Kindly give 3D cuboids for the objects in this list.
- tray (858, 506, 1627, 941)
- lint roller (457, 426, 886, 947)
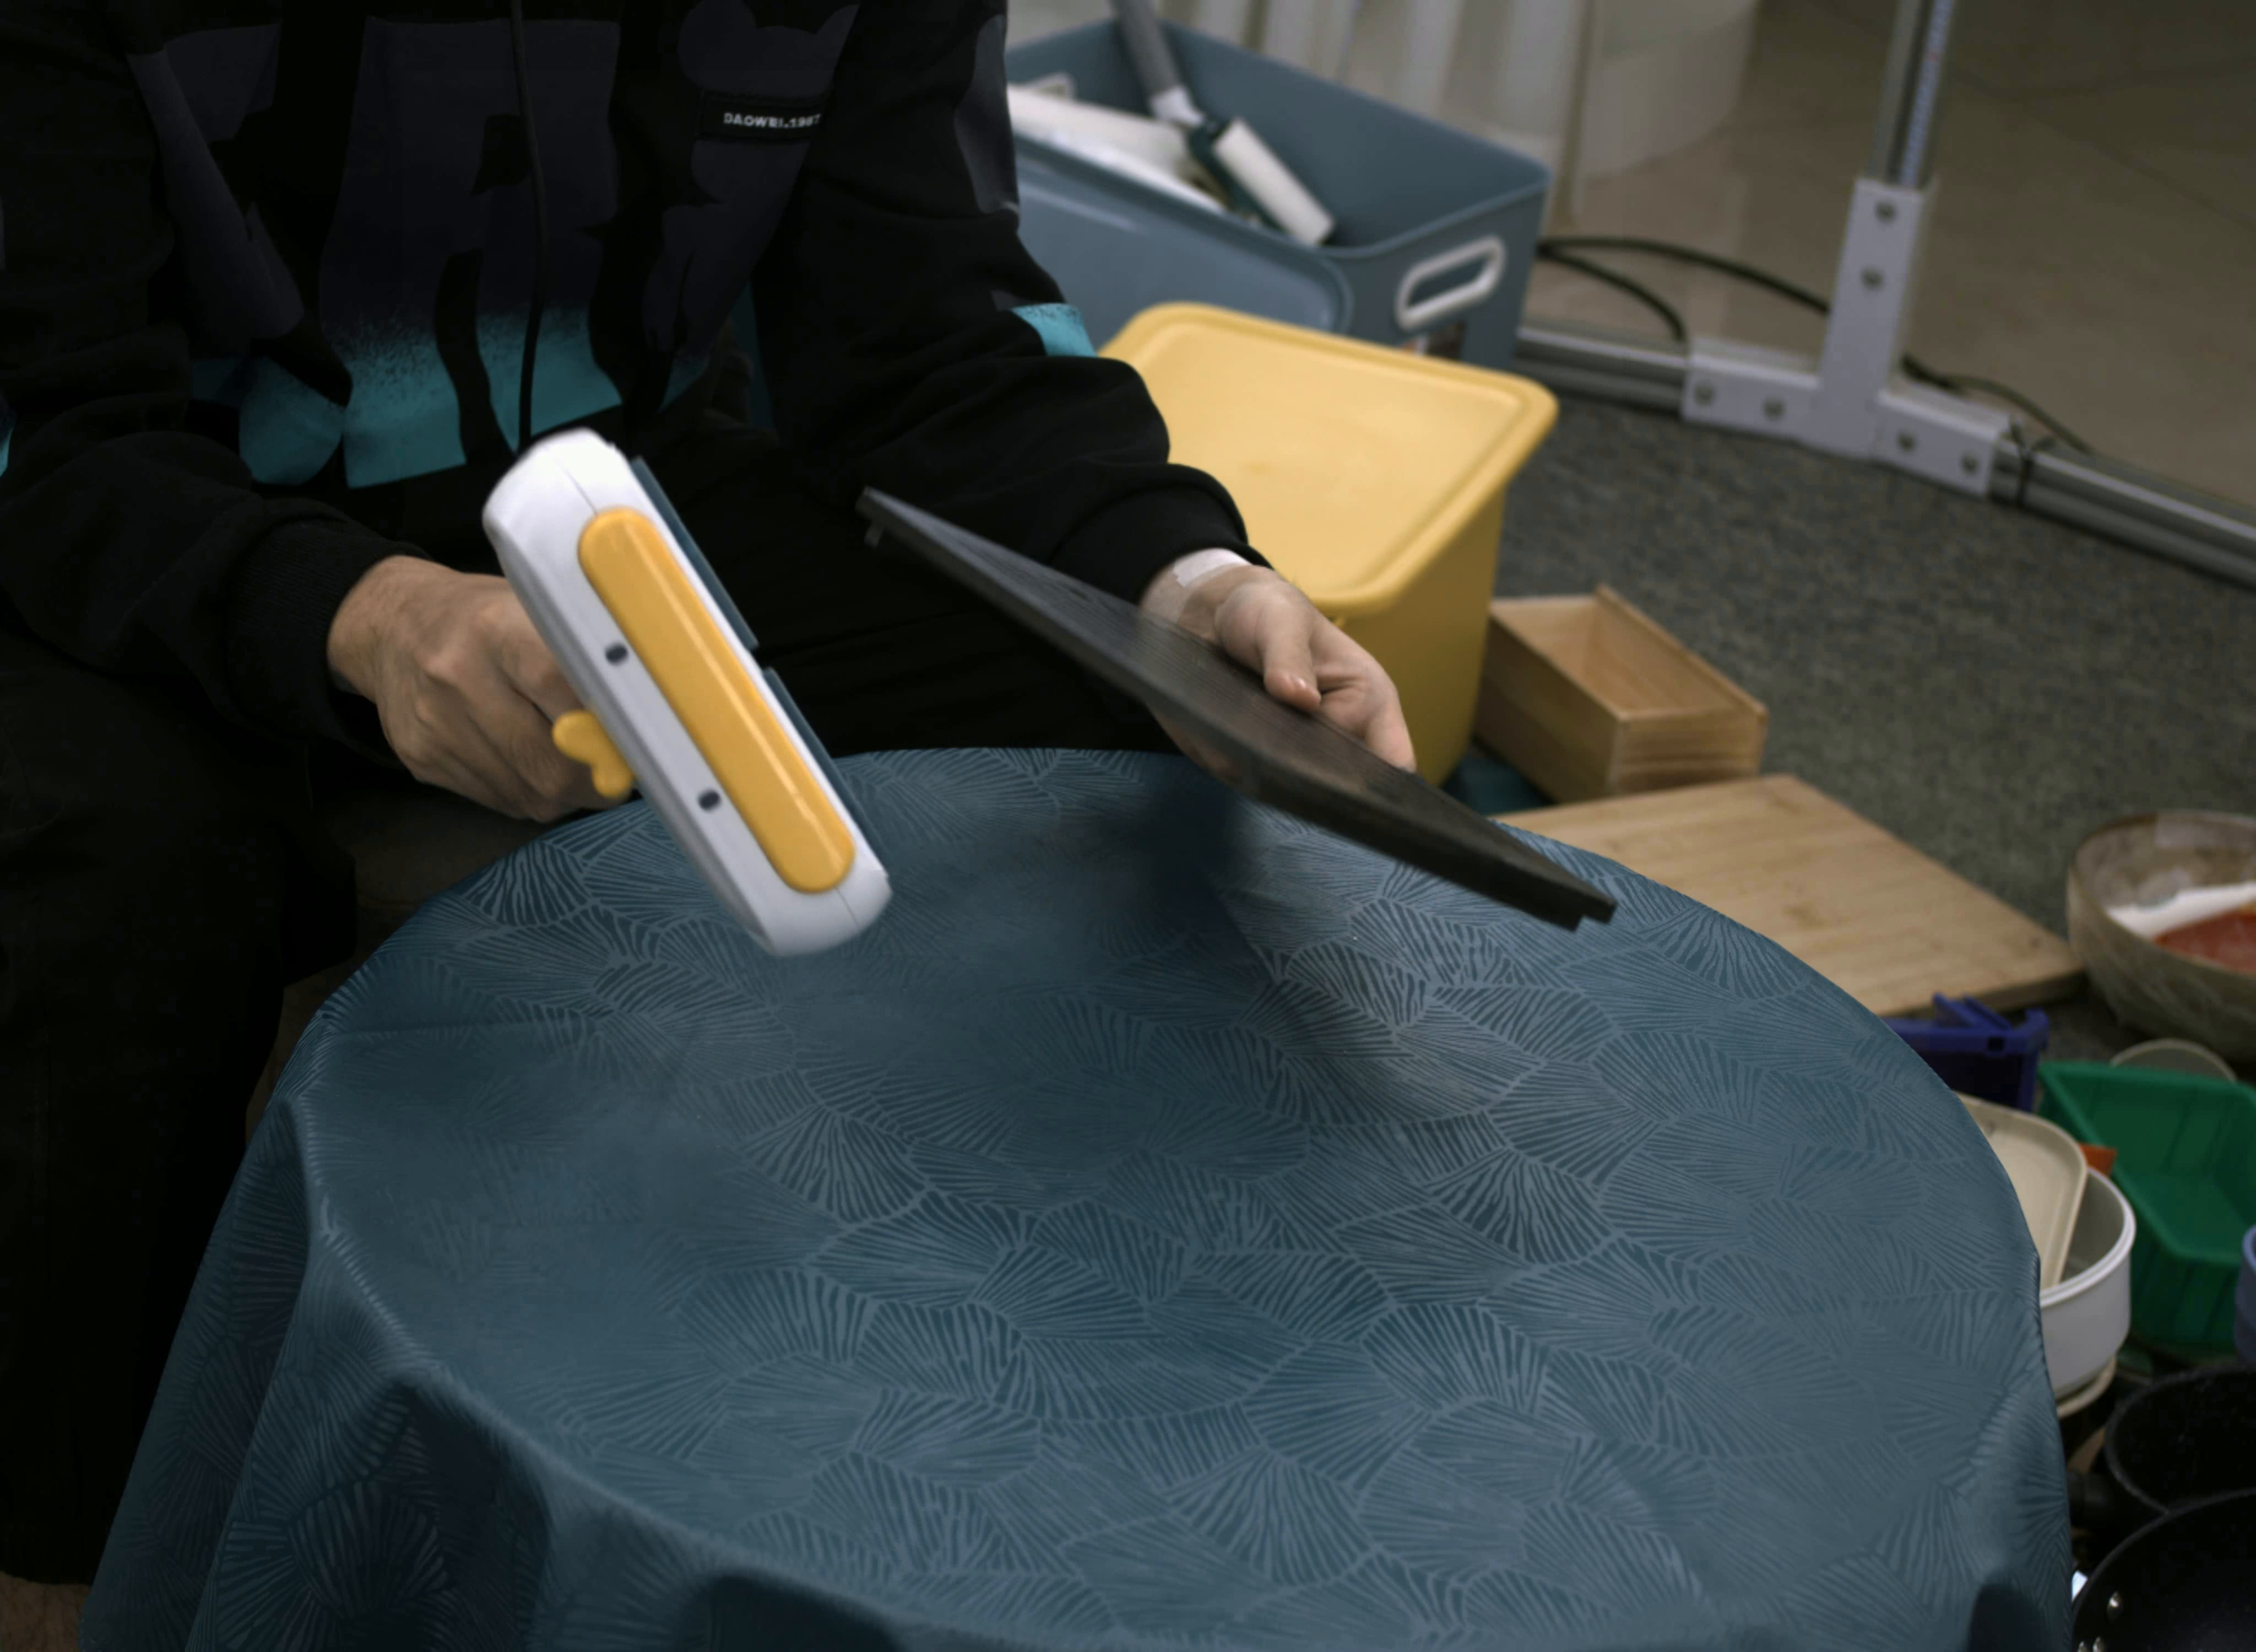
[{"bbox_3d":[0.034,-0.036,1.894,0.168,0.018,0.308,20,9,-36],"label":"tray"},{"bbox_3d":[-0.174,-0.039,1.799,0.074,0.192,0.193,-42,13,-17],"label":"lint roller"}]
